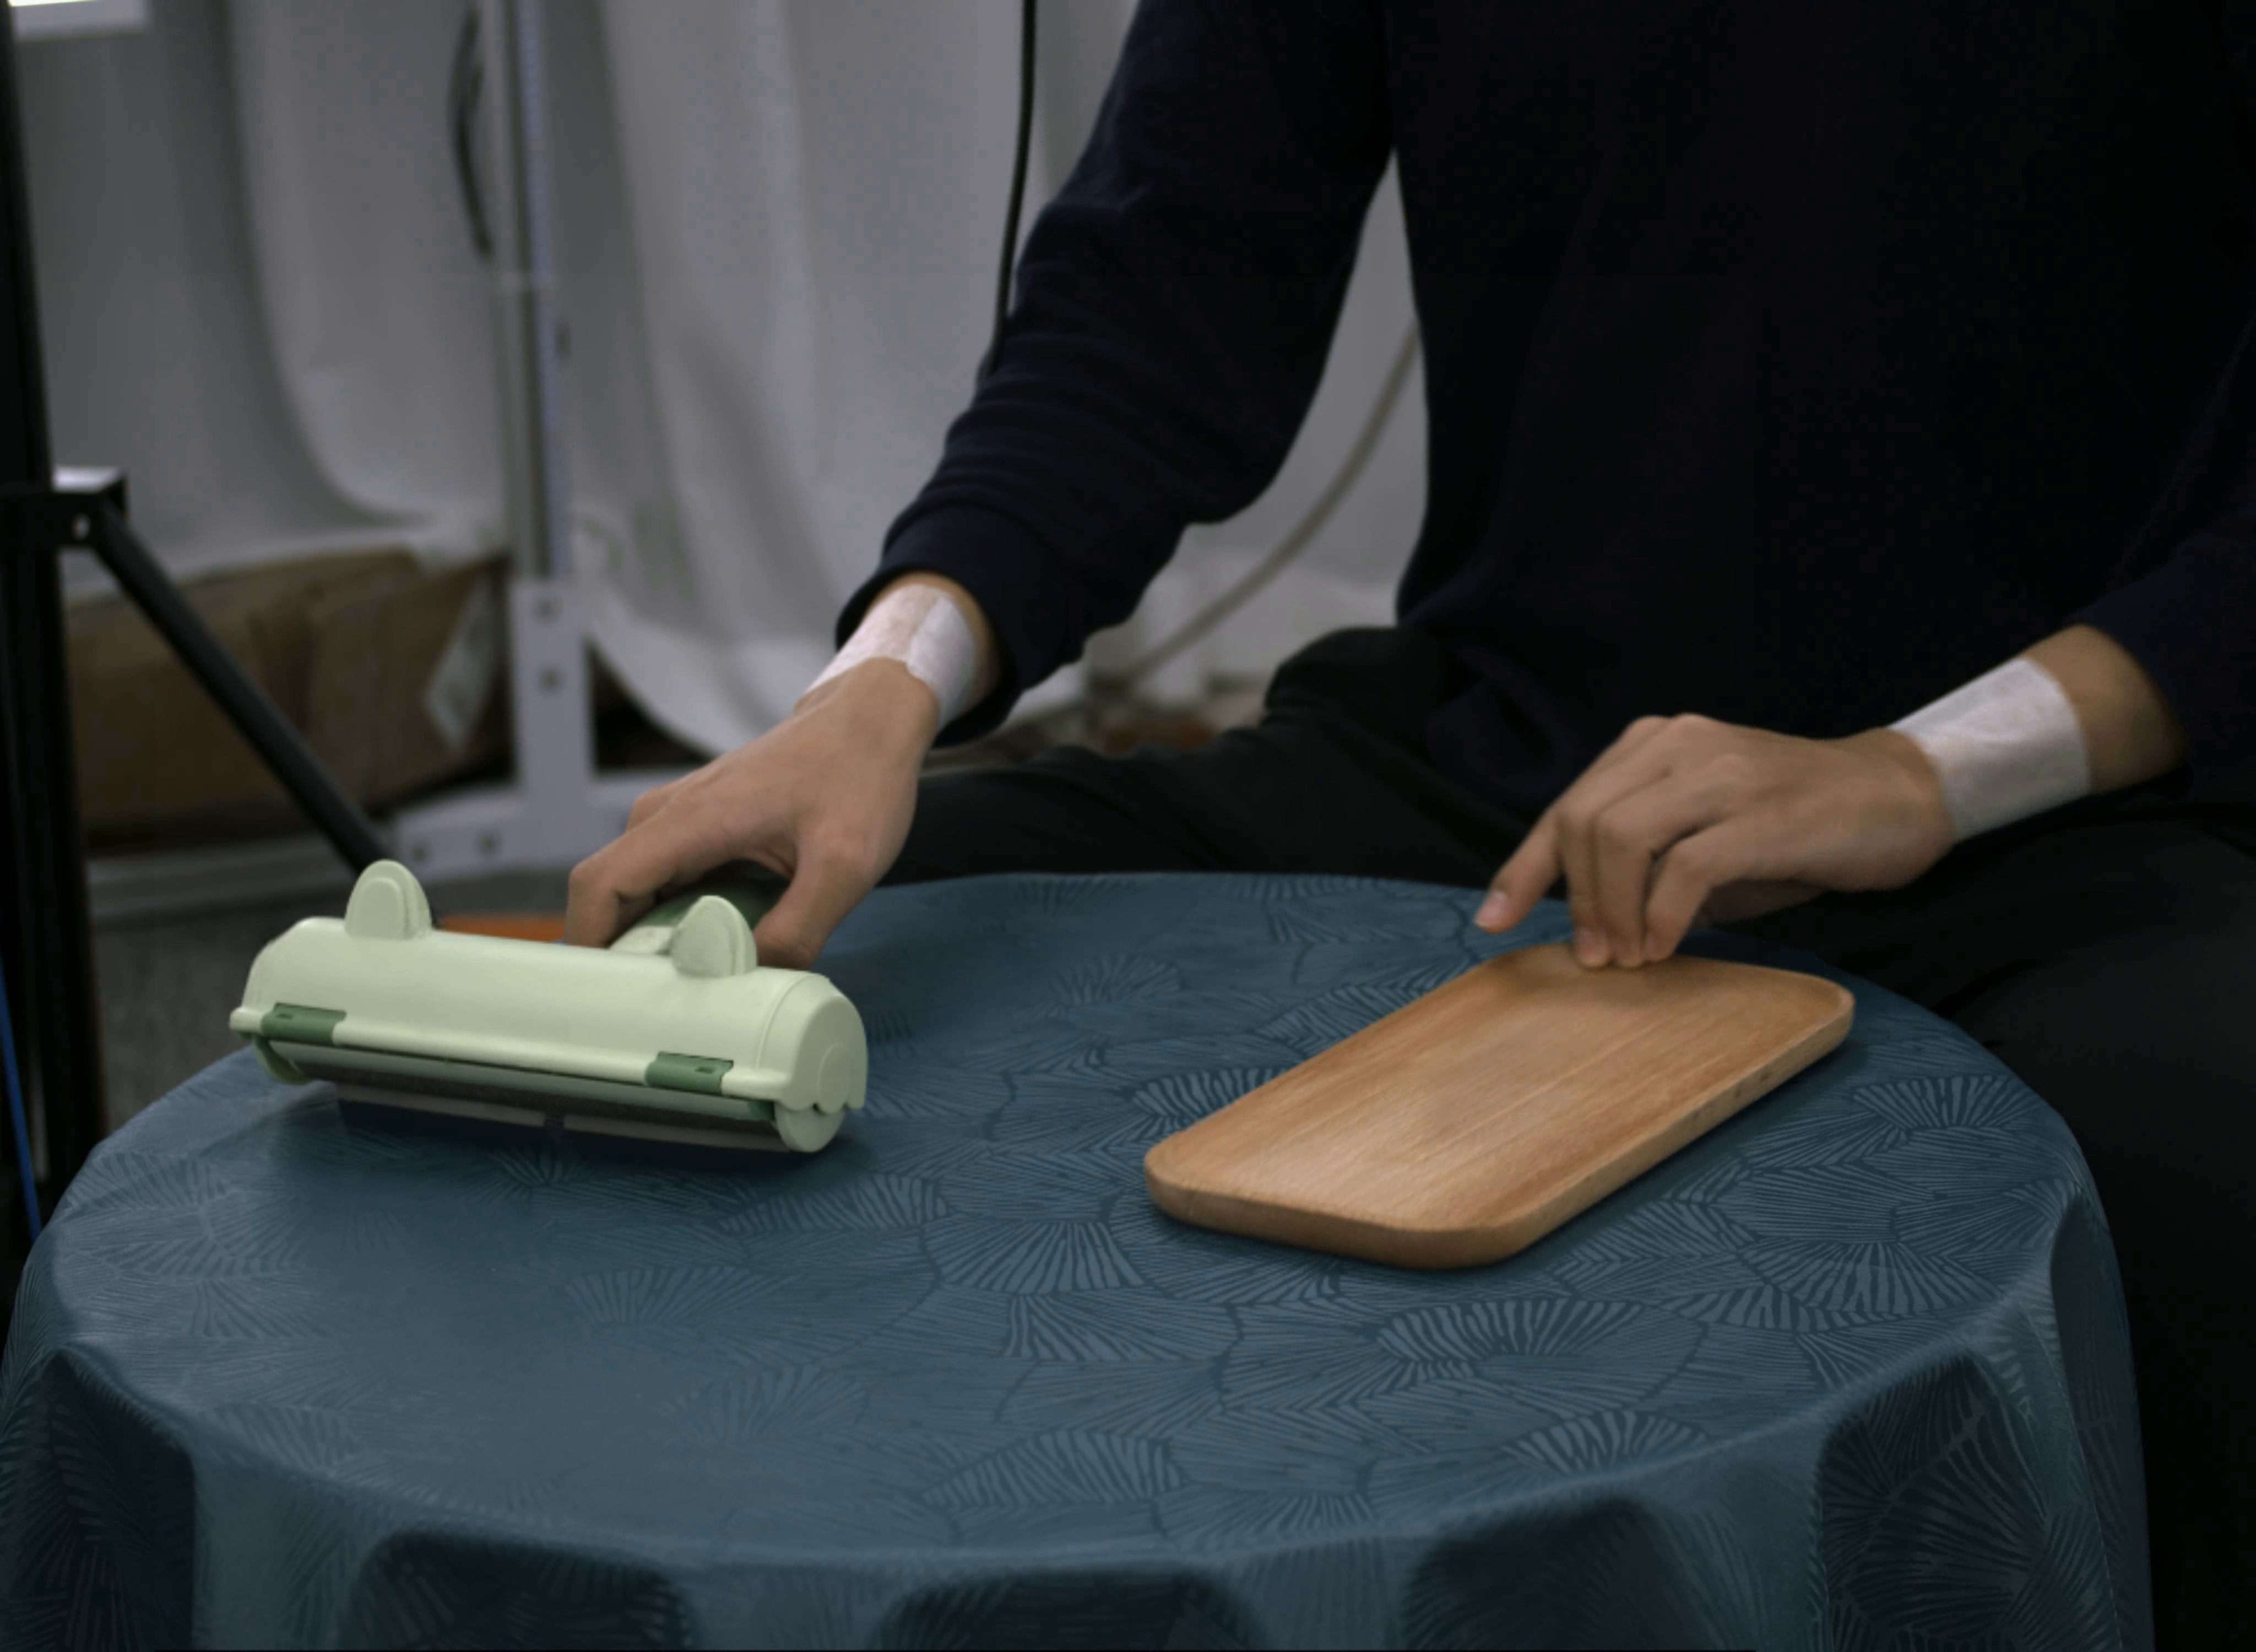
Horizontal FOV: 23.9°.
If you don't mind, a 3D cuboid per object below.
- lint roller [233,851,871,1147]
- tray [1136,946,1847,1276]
[{"bbox_3d":[-0.155,0.030,1.677,0.201,0.082,0.181,6,30,25],"label":"lint roller"},{"bbox_3d":[0.113,0.083,1.590,0.133,0.023,0.246,11,20,33],"label":"tray"}]
